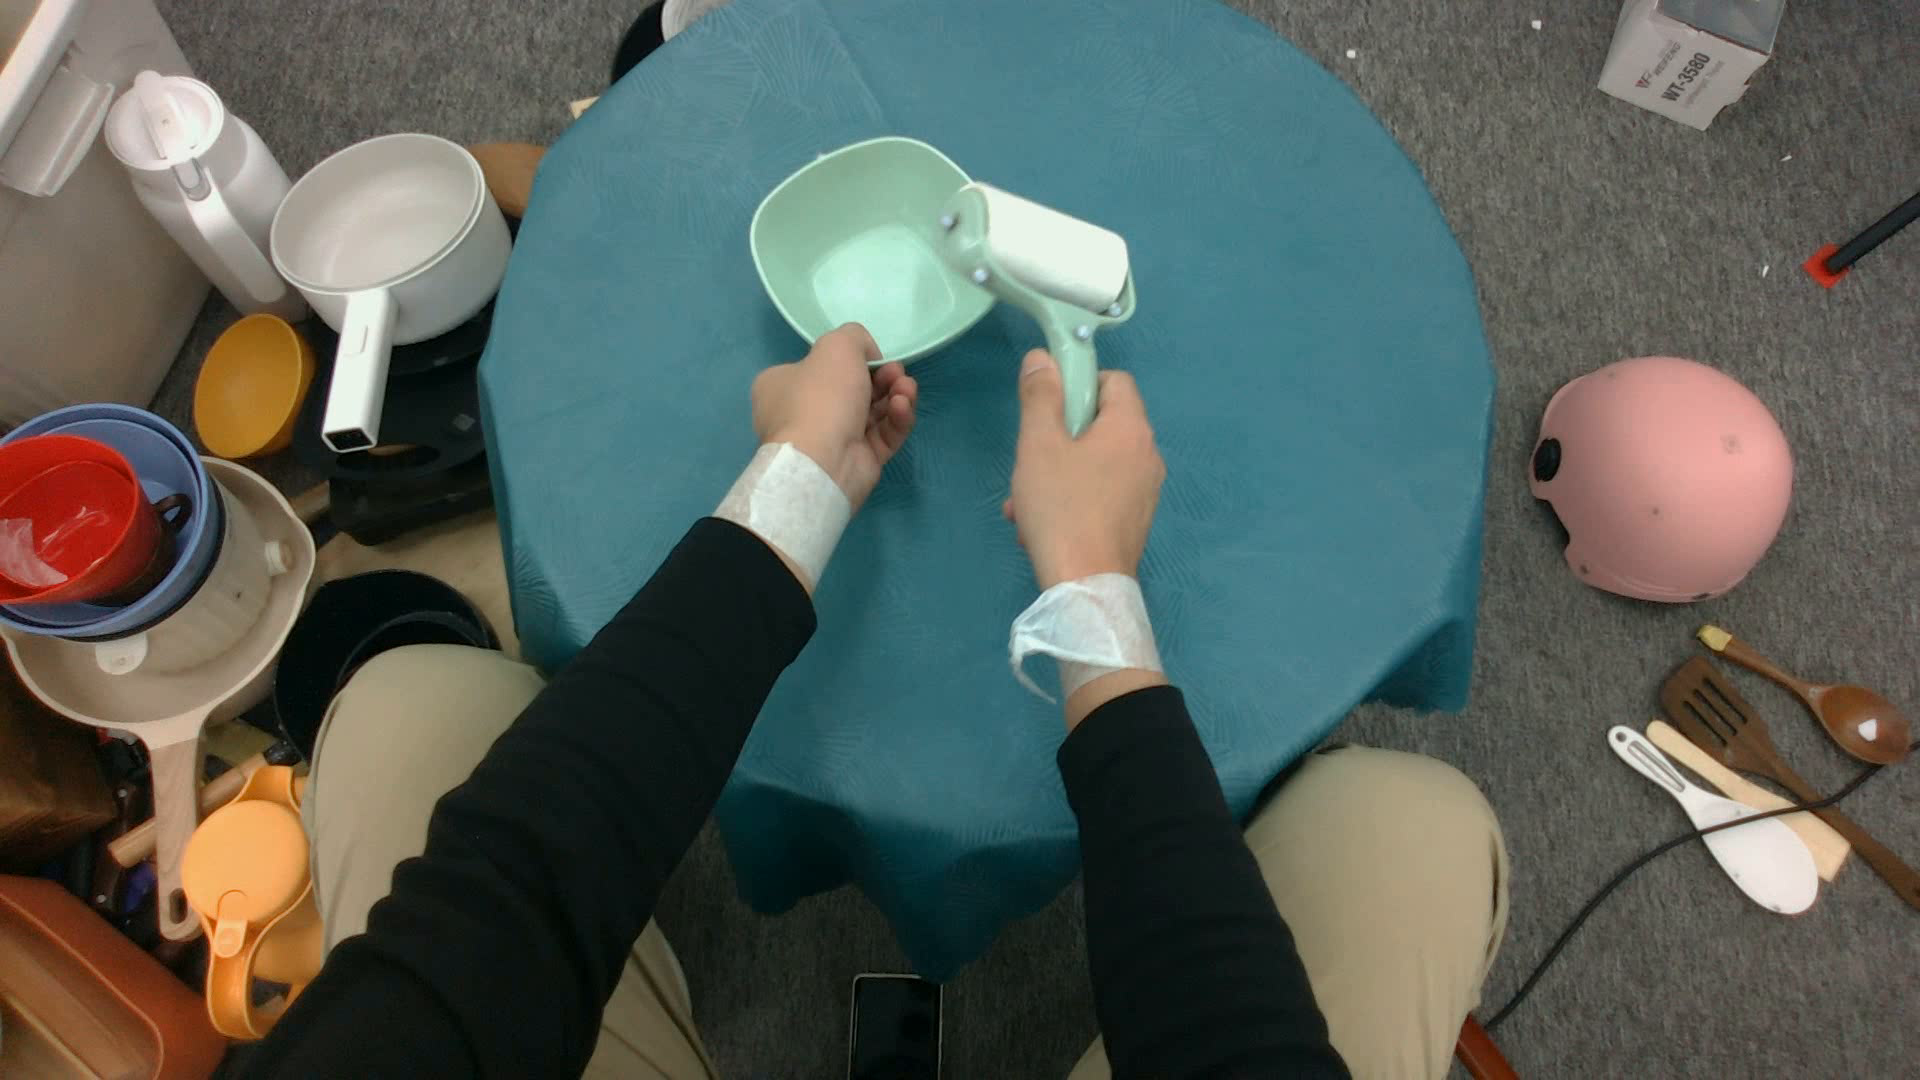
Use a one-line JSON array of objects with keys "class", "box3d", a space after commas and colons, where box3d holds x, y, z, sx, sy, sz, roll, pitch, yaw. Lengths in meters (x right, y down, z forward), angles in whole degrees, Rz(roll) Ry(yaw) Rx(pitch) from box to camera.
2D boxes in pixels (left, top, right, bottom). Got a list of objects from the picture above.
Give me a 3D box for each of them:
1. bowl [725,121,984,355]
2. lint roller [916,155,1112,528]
[{"class": "bowl", "box3d": [-0.059, -0.167, 0.807, 0.151, 0.058, 0.152, 1, 69, -2]}, {"class": "lint roller", "box3d": [0.037, -0.104, 0.729, 0.117, 0.048, 0.198, 13, 61, -42]}]
